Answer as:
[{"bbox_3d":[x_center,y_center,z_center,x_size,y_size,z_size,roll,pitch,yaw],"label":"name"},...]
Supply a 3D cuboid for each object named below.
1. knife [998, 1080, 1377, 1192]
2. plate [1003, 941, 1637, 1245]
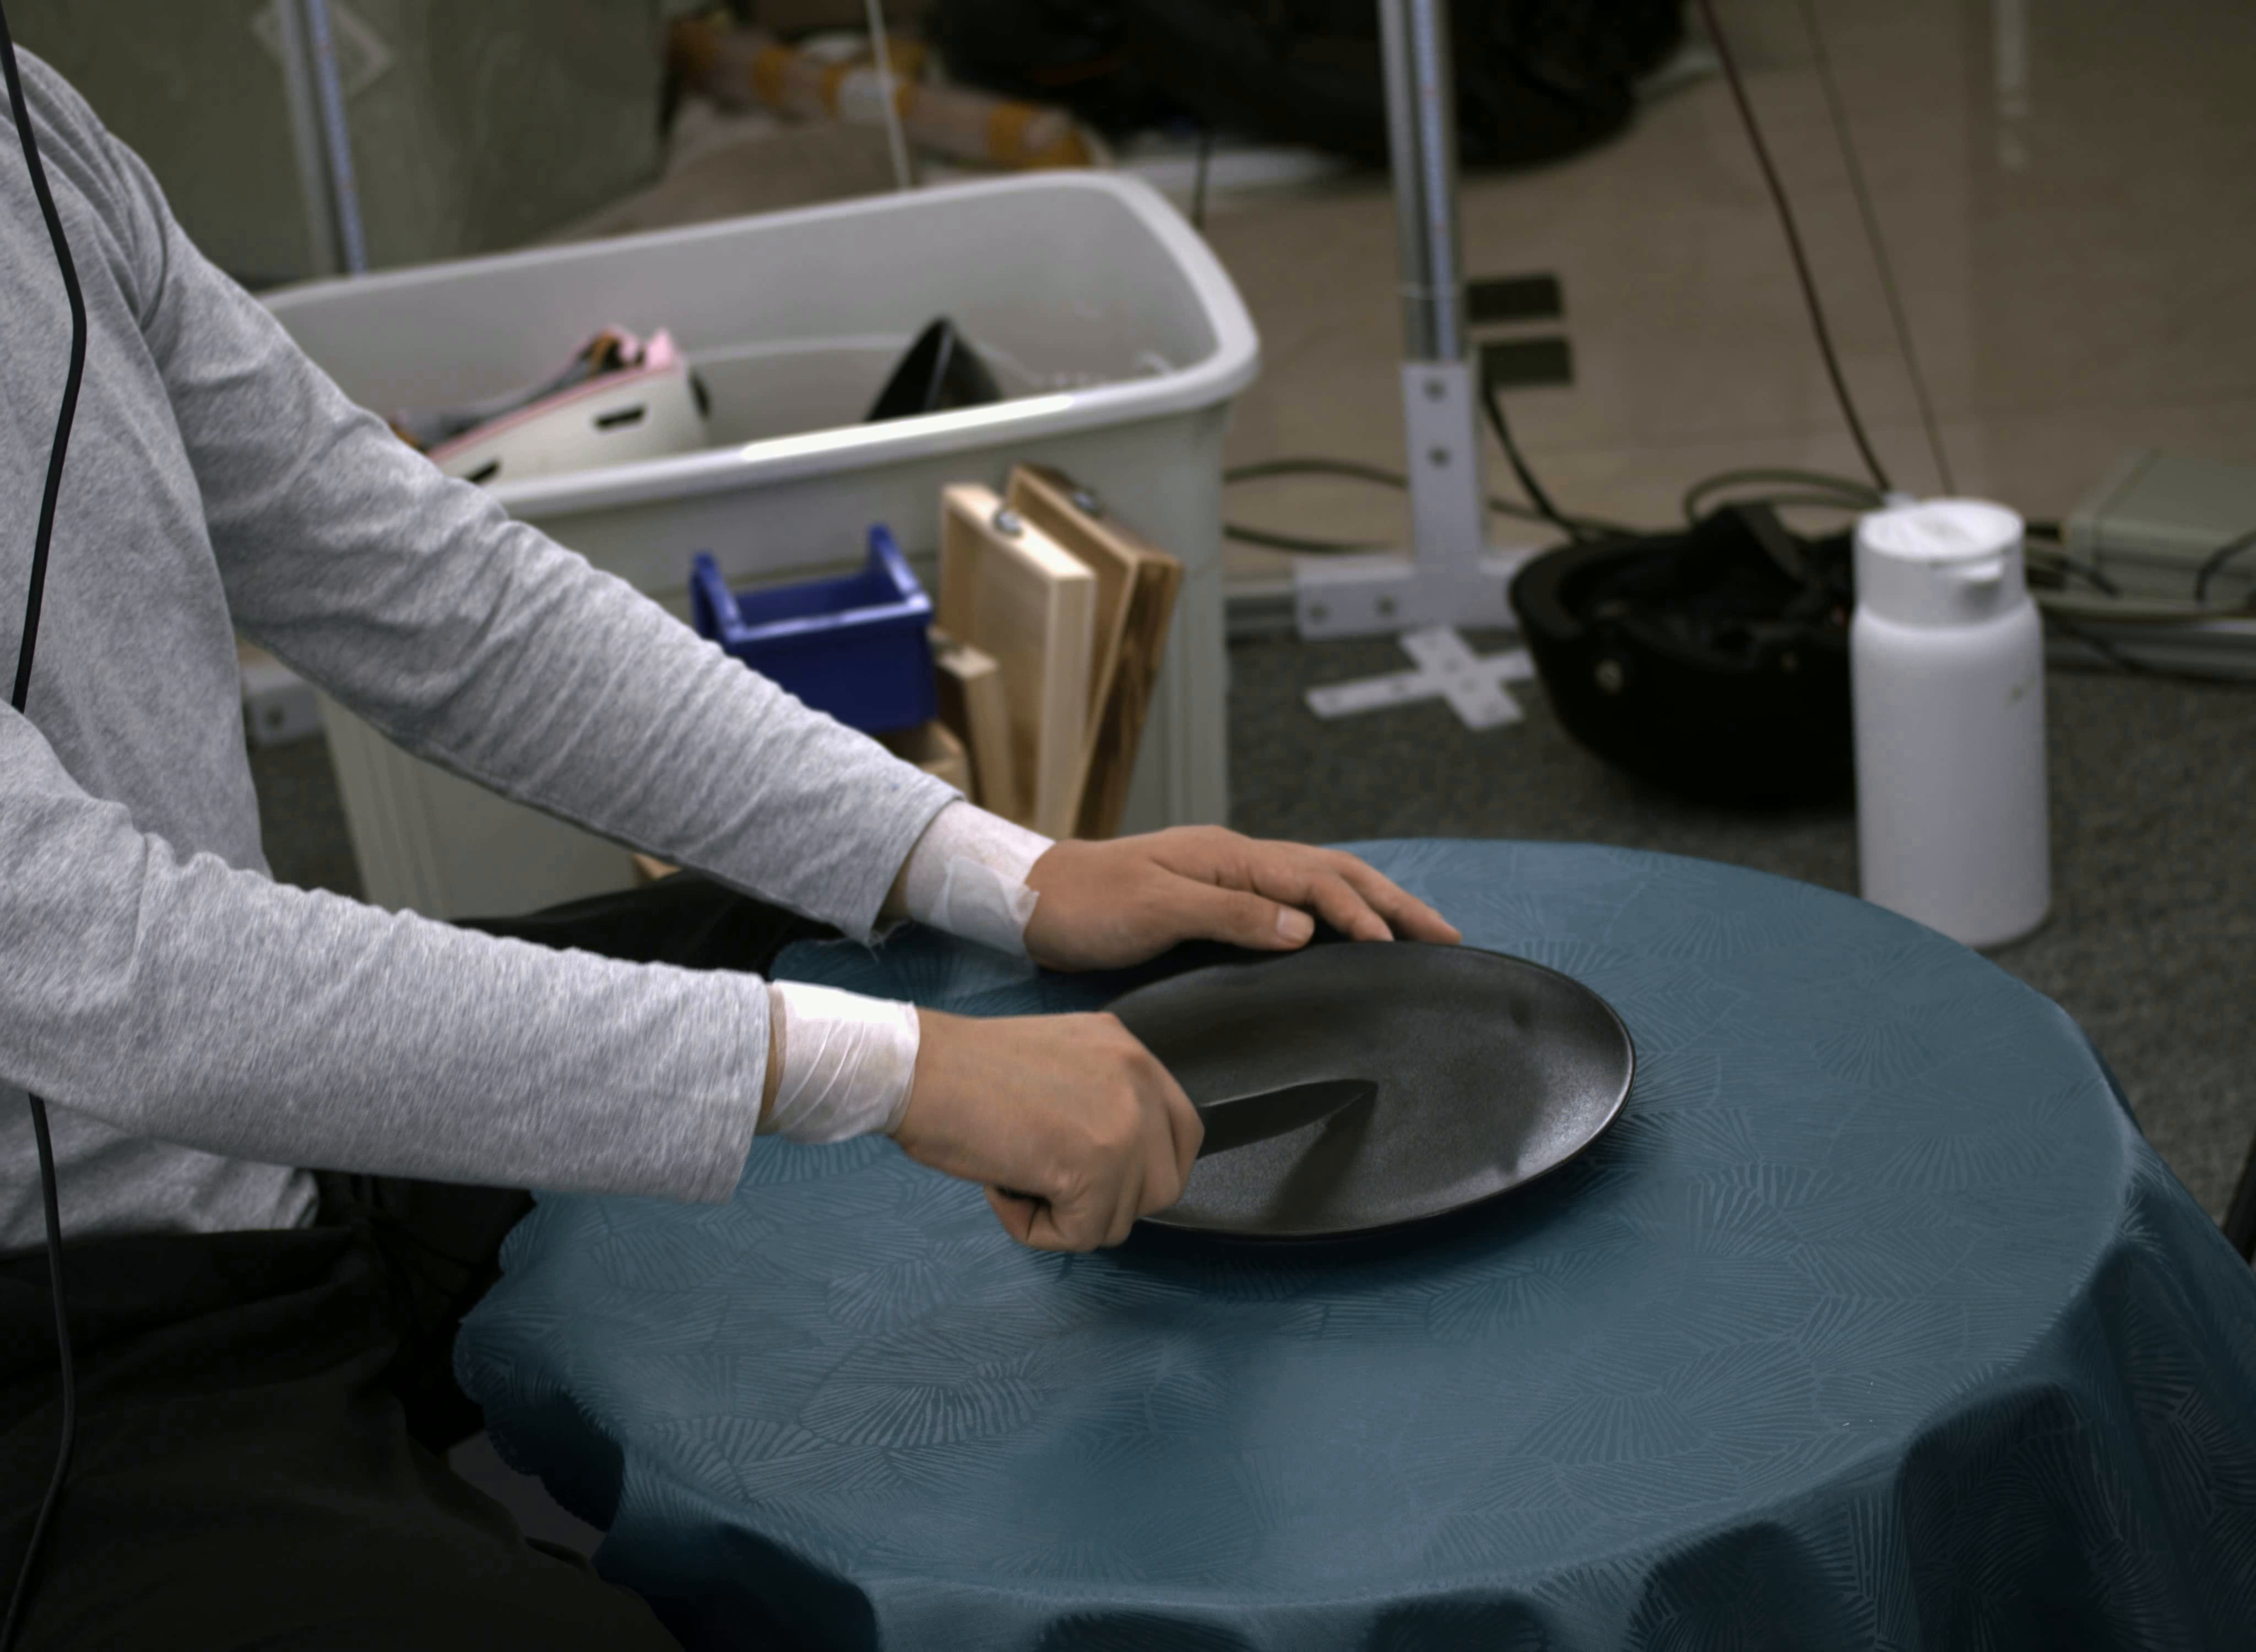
[{"bbox_3d":[0.028,0.110,2.096,0.016,0.025,0.237,22,17,32],"label":"knife"},{"bbox_3d":[0.074,0.107,2.175,0.244,0.024,0.241,-5,25,3],"label":"plate"}]
